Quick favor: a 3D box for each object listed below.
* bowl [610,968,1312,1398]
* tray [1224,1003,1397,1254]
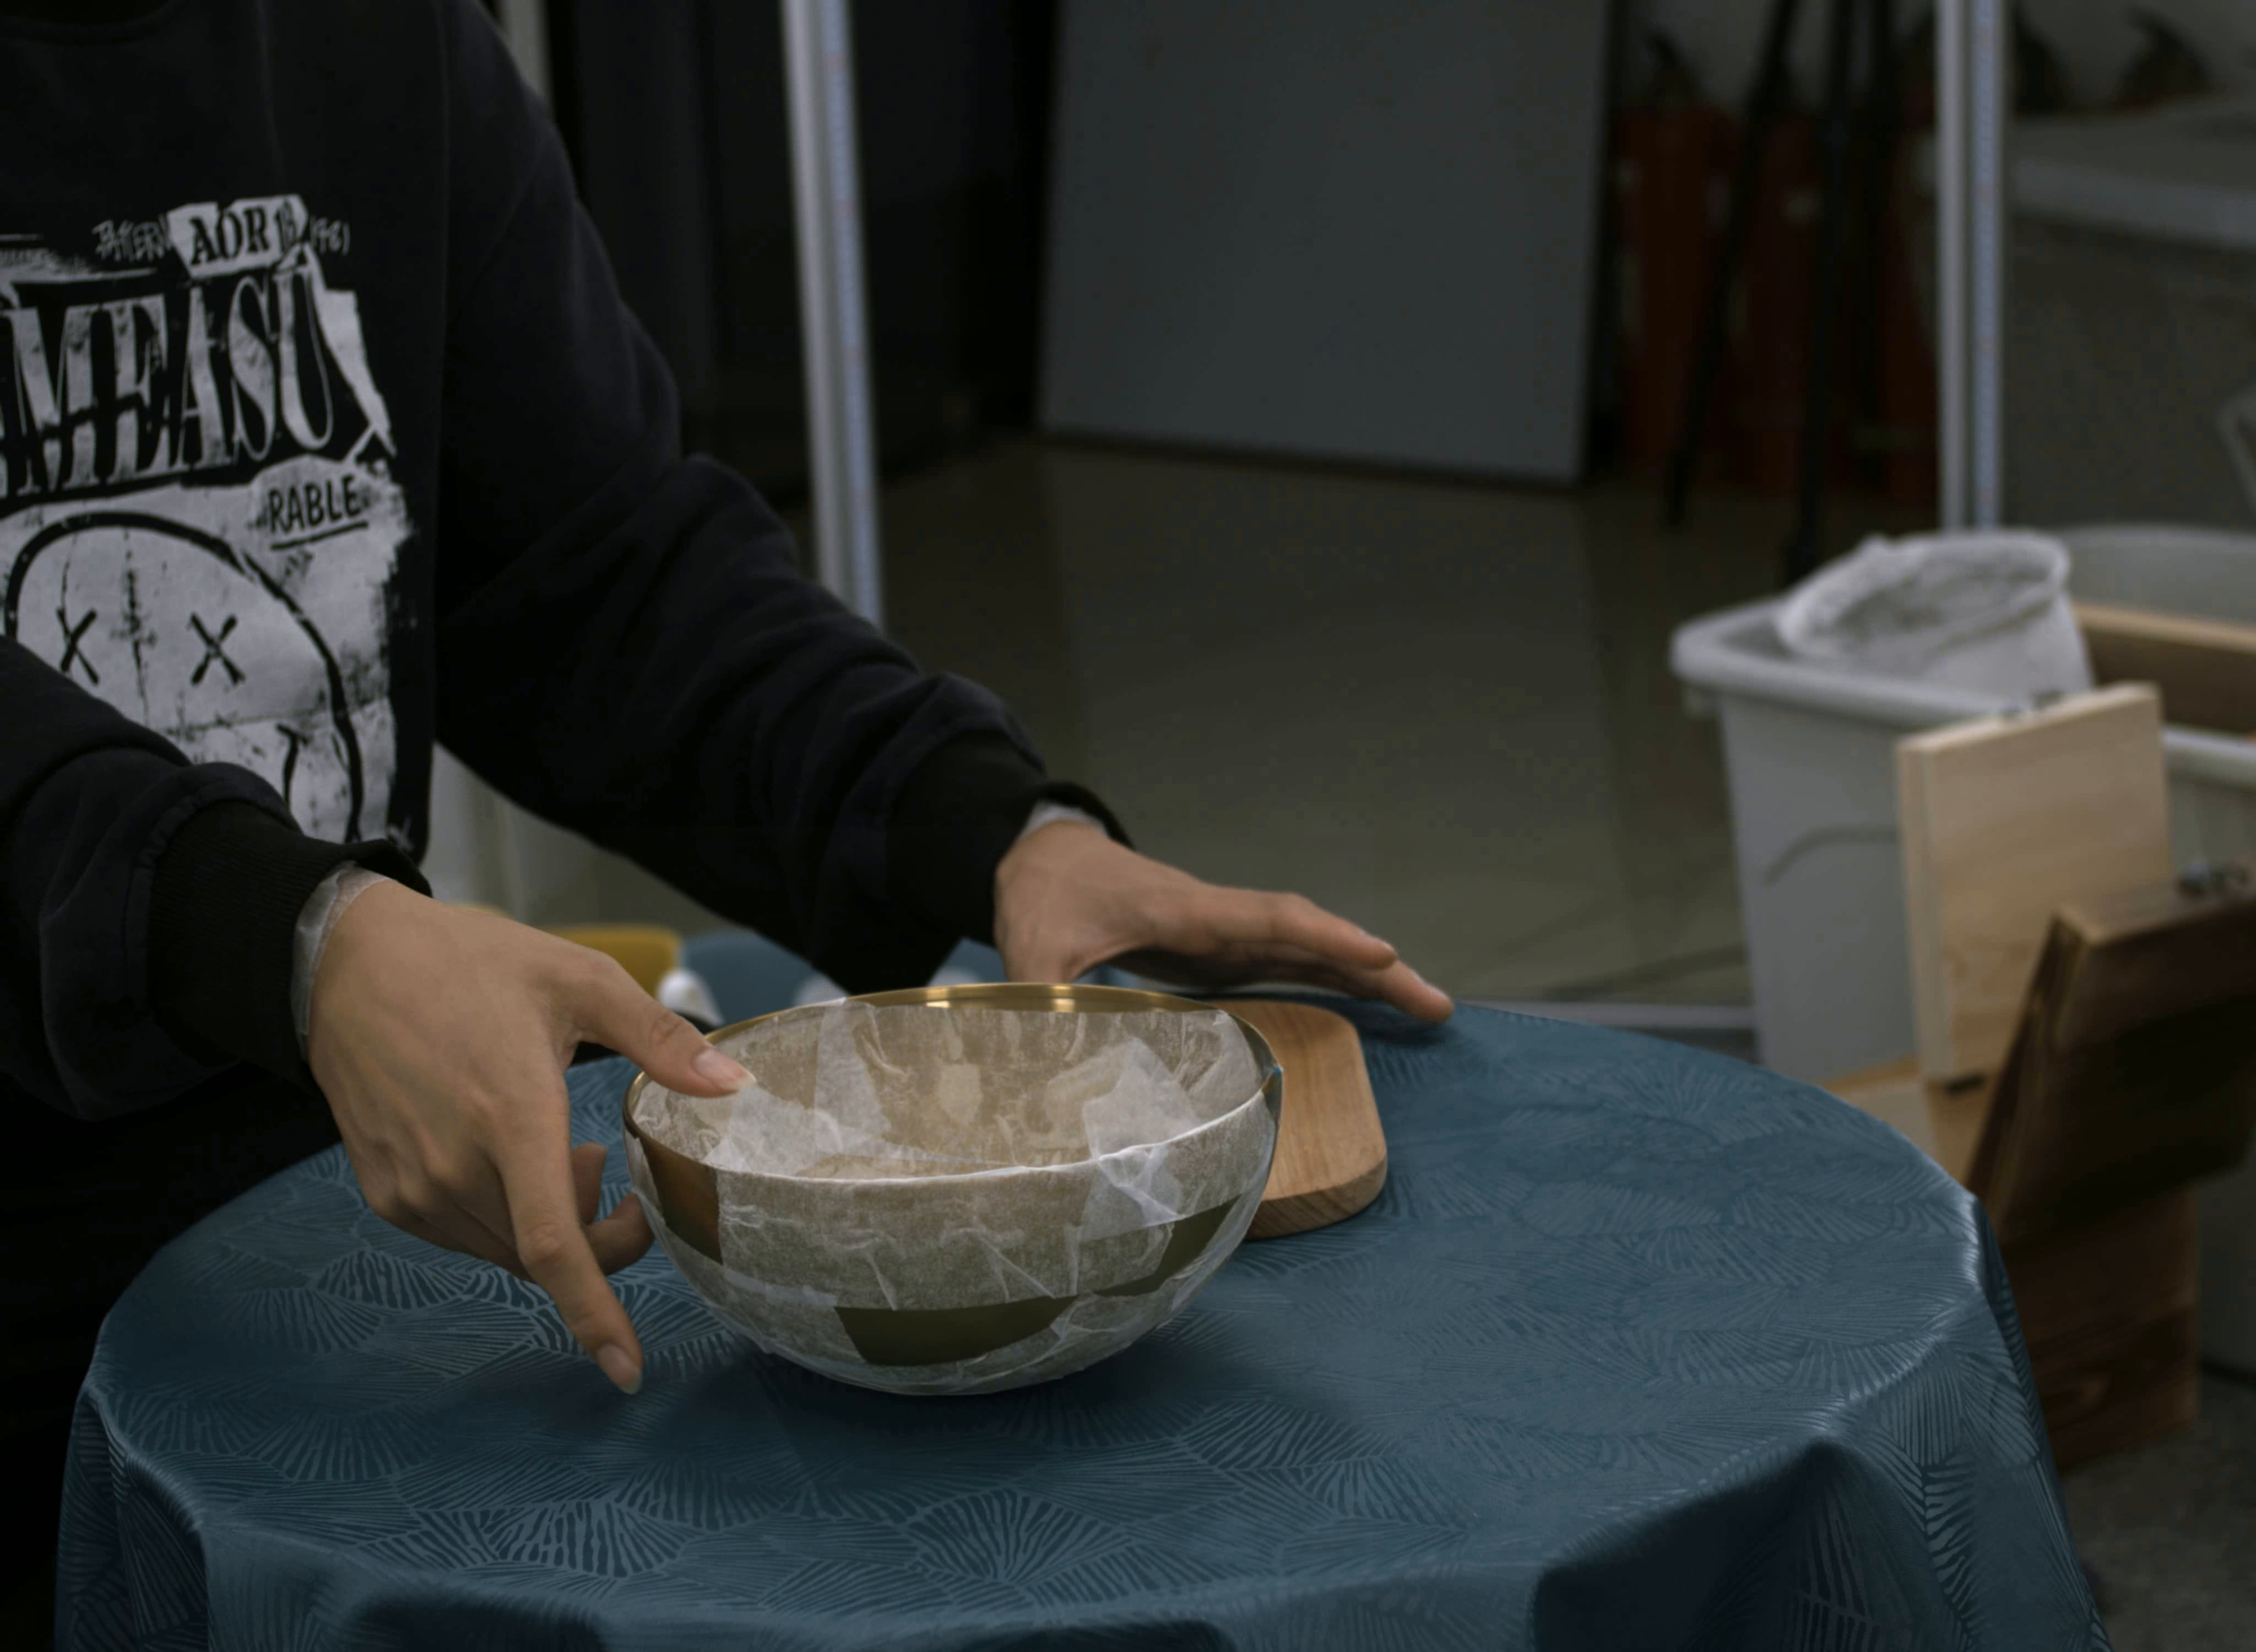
[{"bbox_3d":[-0.048,0.115,1.617,0.212,0.095,0.215,-5,14,0],"label":"bowl"},{"bbox_3d":[0.035,0.100,1.817,0.100,0.020,0.232,-7,16,-1],"label":"tray"}]
